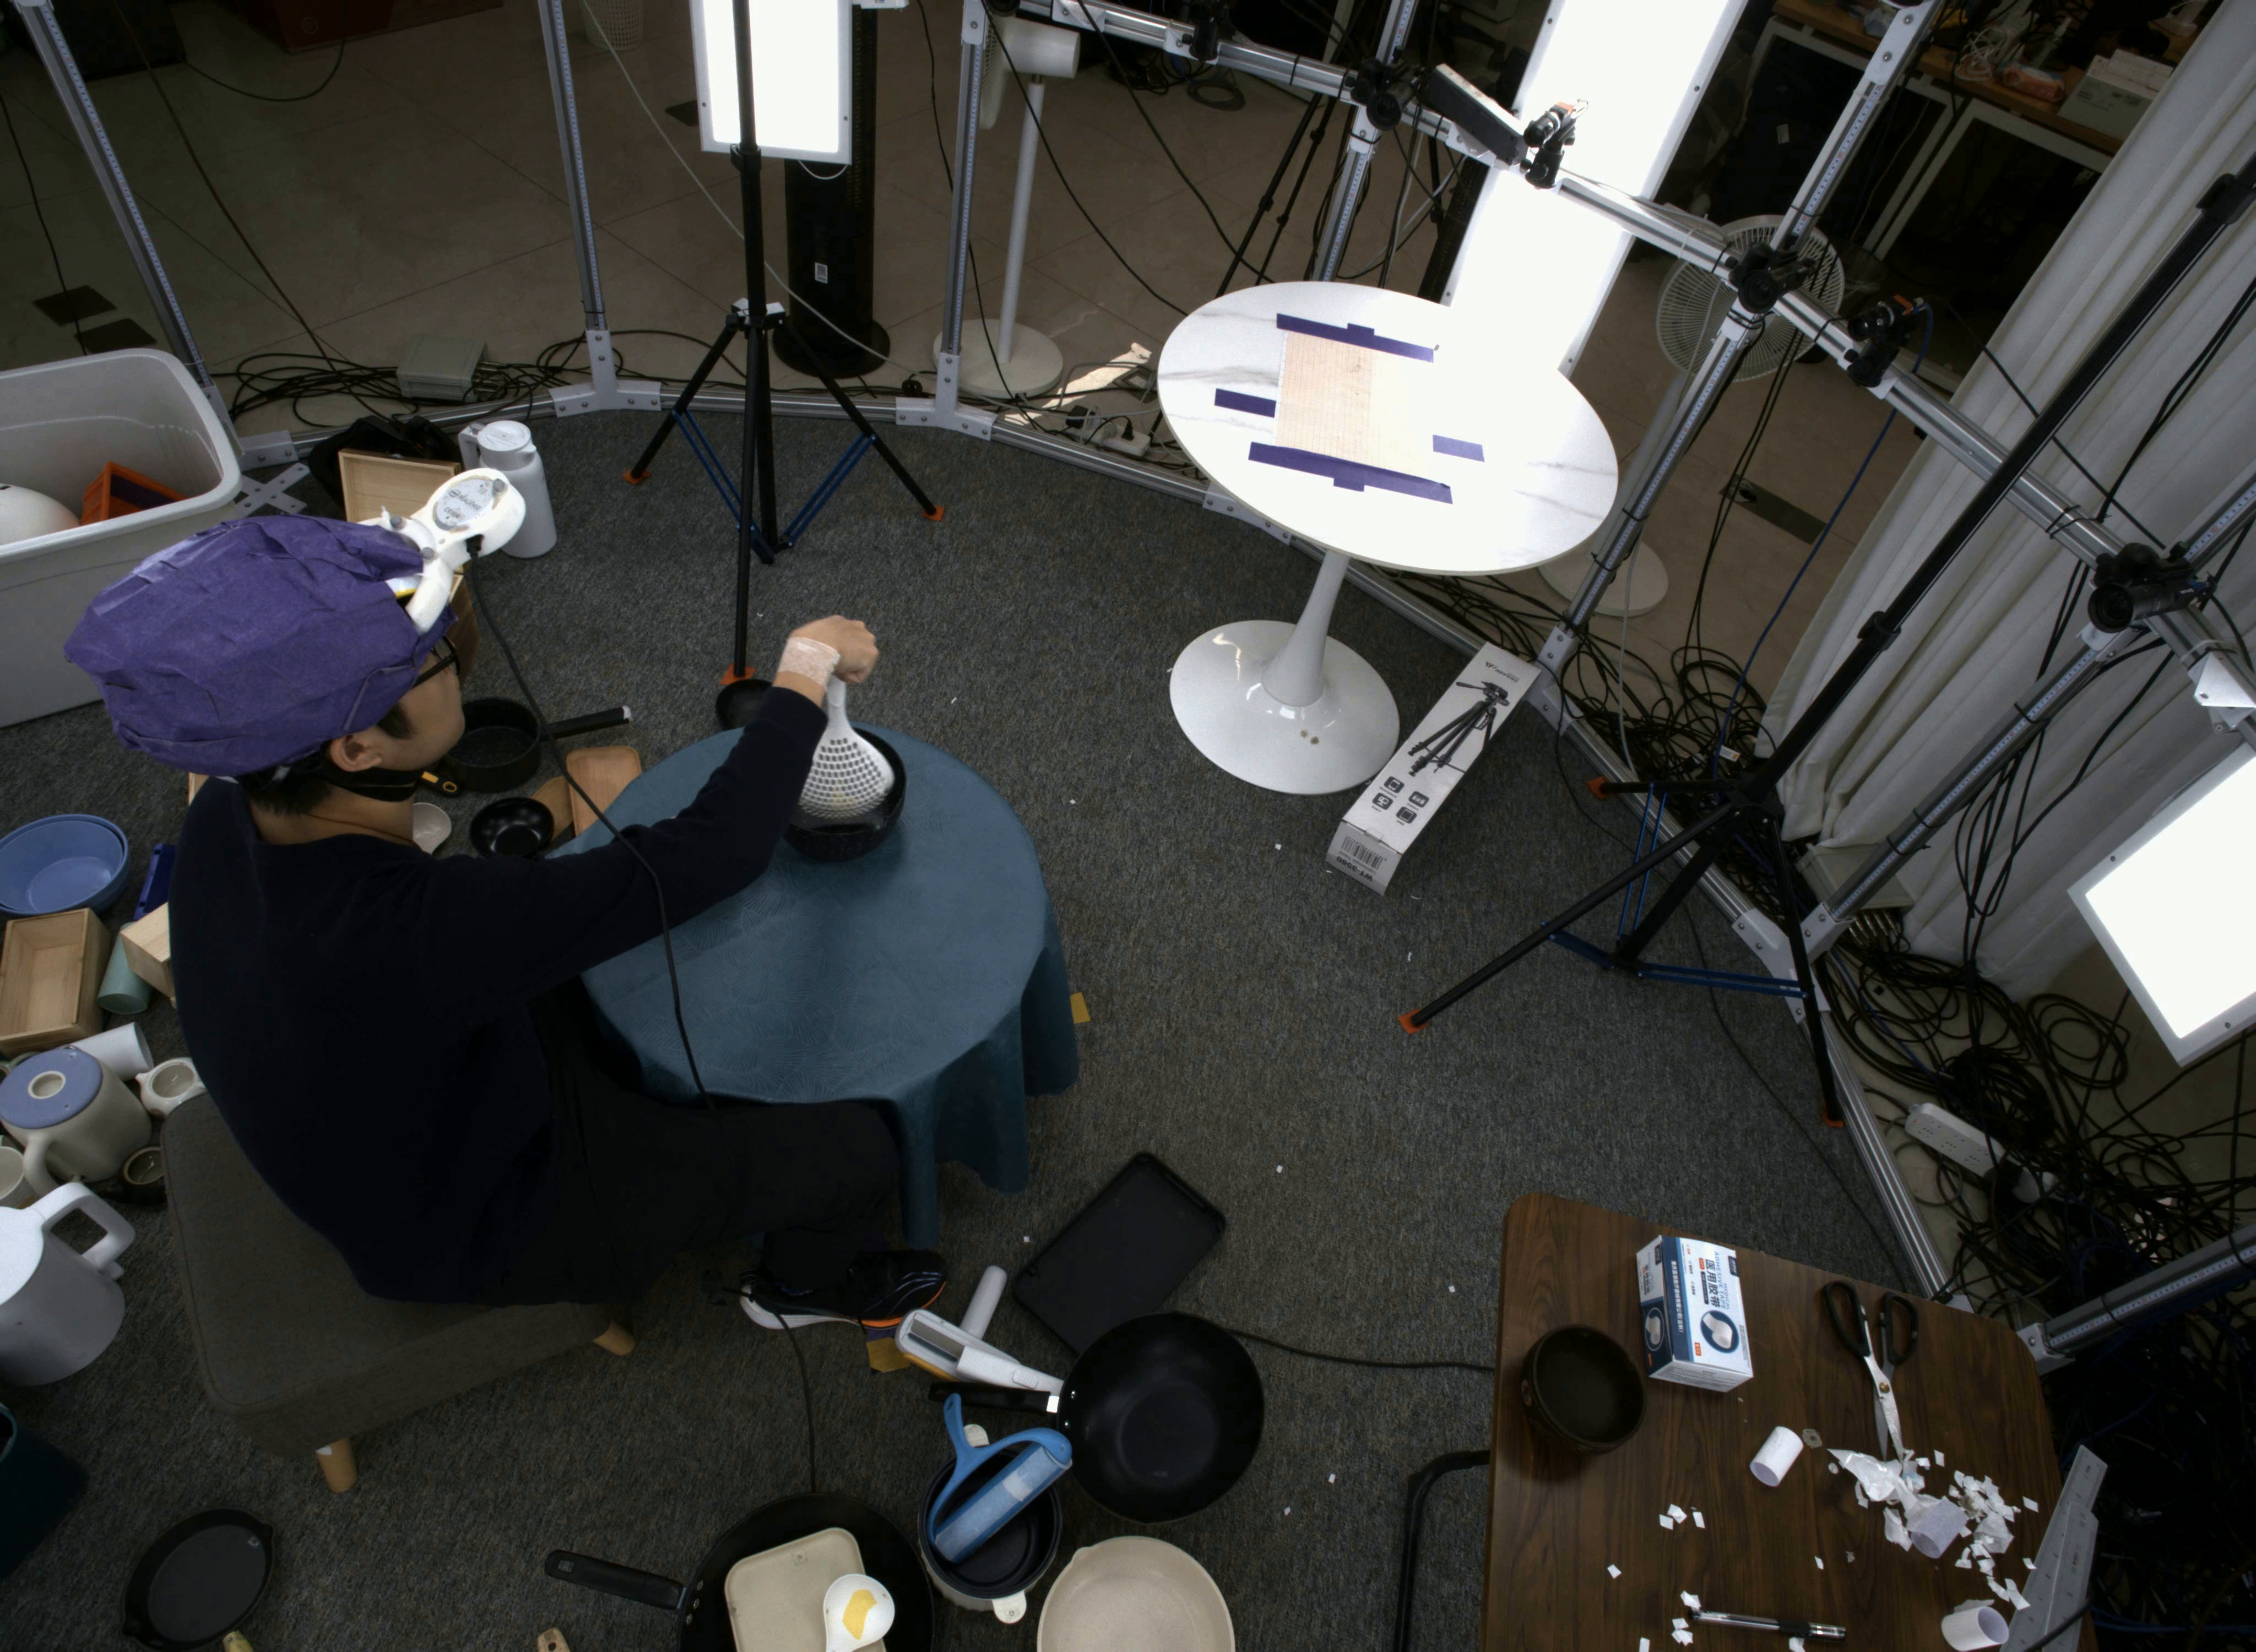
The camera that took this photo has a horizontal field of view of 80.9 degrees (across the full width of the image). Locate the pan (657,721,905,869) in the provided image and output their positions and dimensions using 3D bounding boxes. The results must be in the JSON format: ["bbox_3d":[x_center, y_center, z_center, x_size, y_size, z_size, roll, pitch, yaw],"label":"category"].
[{"bbox_3d":[-0.440,-0.008,1.646,0.203,0.110,0.344,43,54,17],"label":"pan"}]

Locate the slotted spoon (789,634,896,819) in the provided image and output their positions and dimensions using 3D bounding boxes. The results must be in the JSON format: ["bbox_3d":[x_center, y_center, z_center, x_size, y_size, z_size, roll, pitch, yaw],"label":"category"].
[{"bbox_3d":[-0.349,-0.115,1.580,0.137,0.356,0.049,-7,52,-16],"label":"slotted spoon"}]
